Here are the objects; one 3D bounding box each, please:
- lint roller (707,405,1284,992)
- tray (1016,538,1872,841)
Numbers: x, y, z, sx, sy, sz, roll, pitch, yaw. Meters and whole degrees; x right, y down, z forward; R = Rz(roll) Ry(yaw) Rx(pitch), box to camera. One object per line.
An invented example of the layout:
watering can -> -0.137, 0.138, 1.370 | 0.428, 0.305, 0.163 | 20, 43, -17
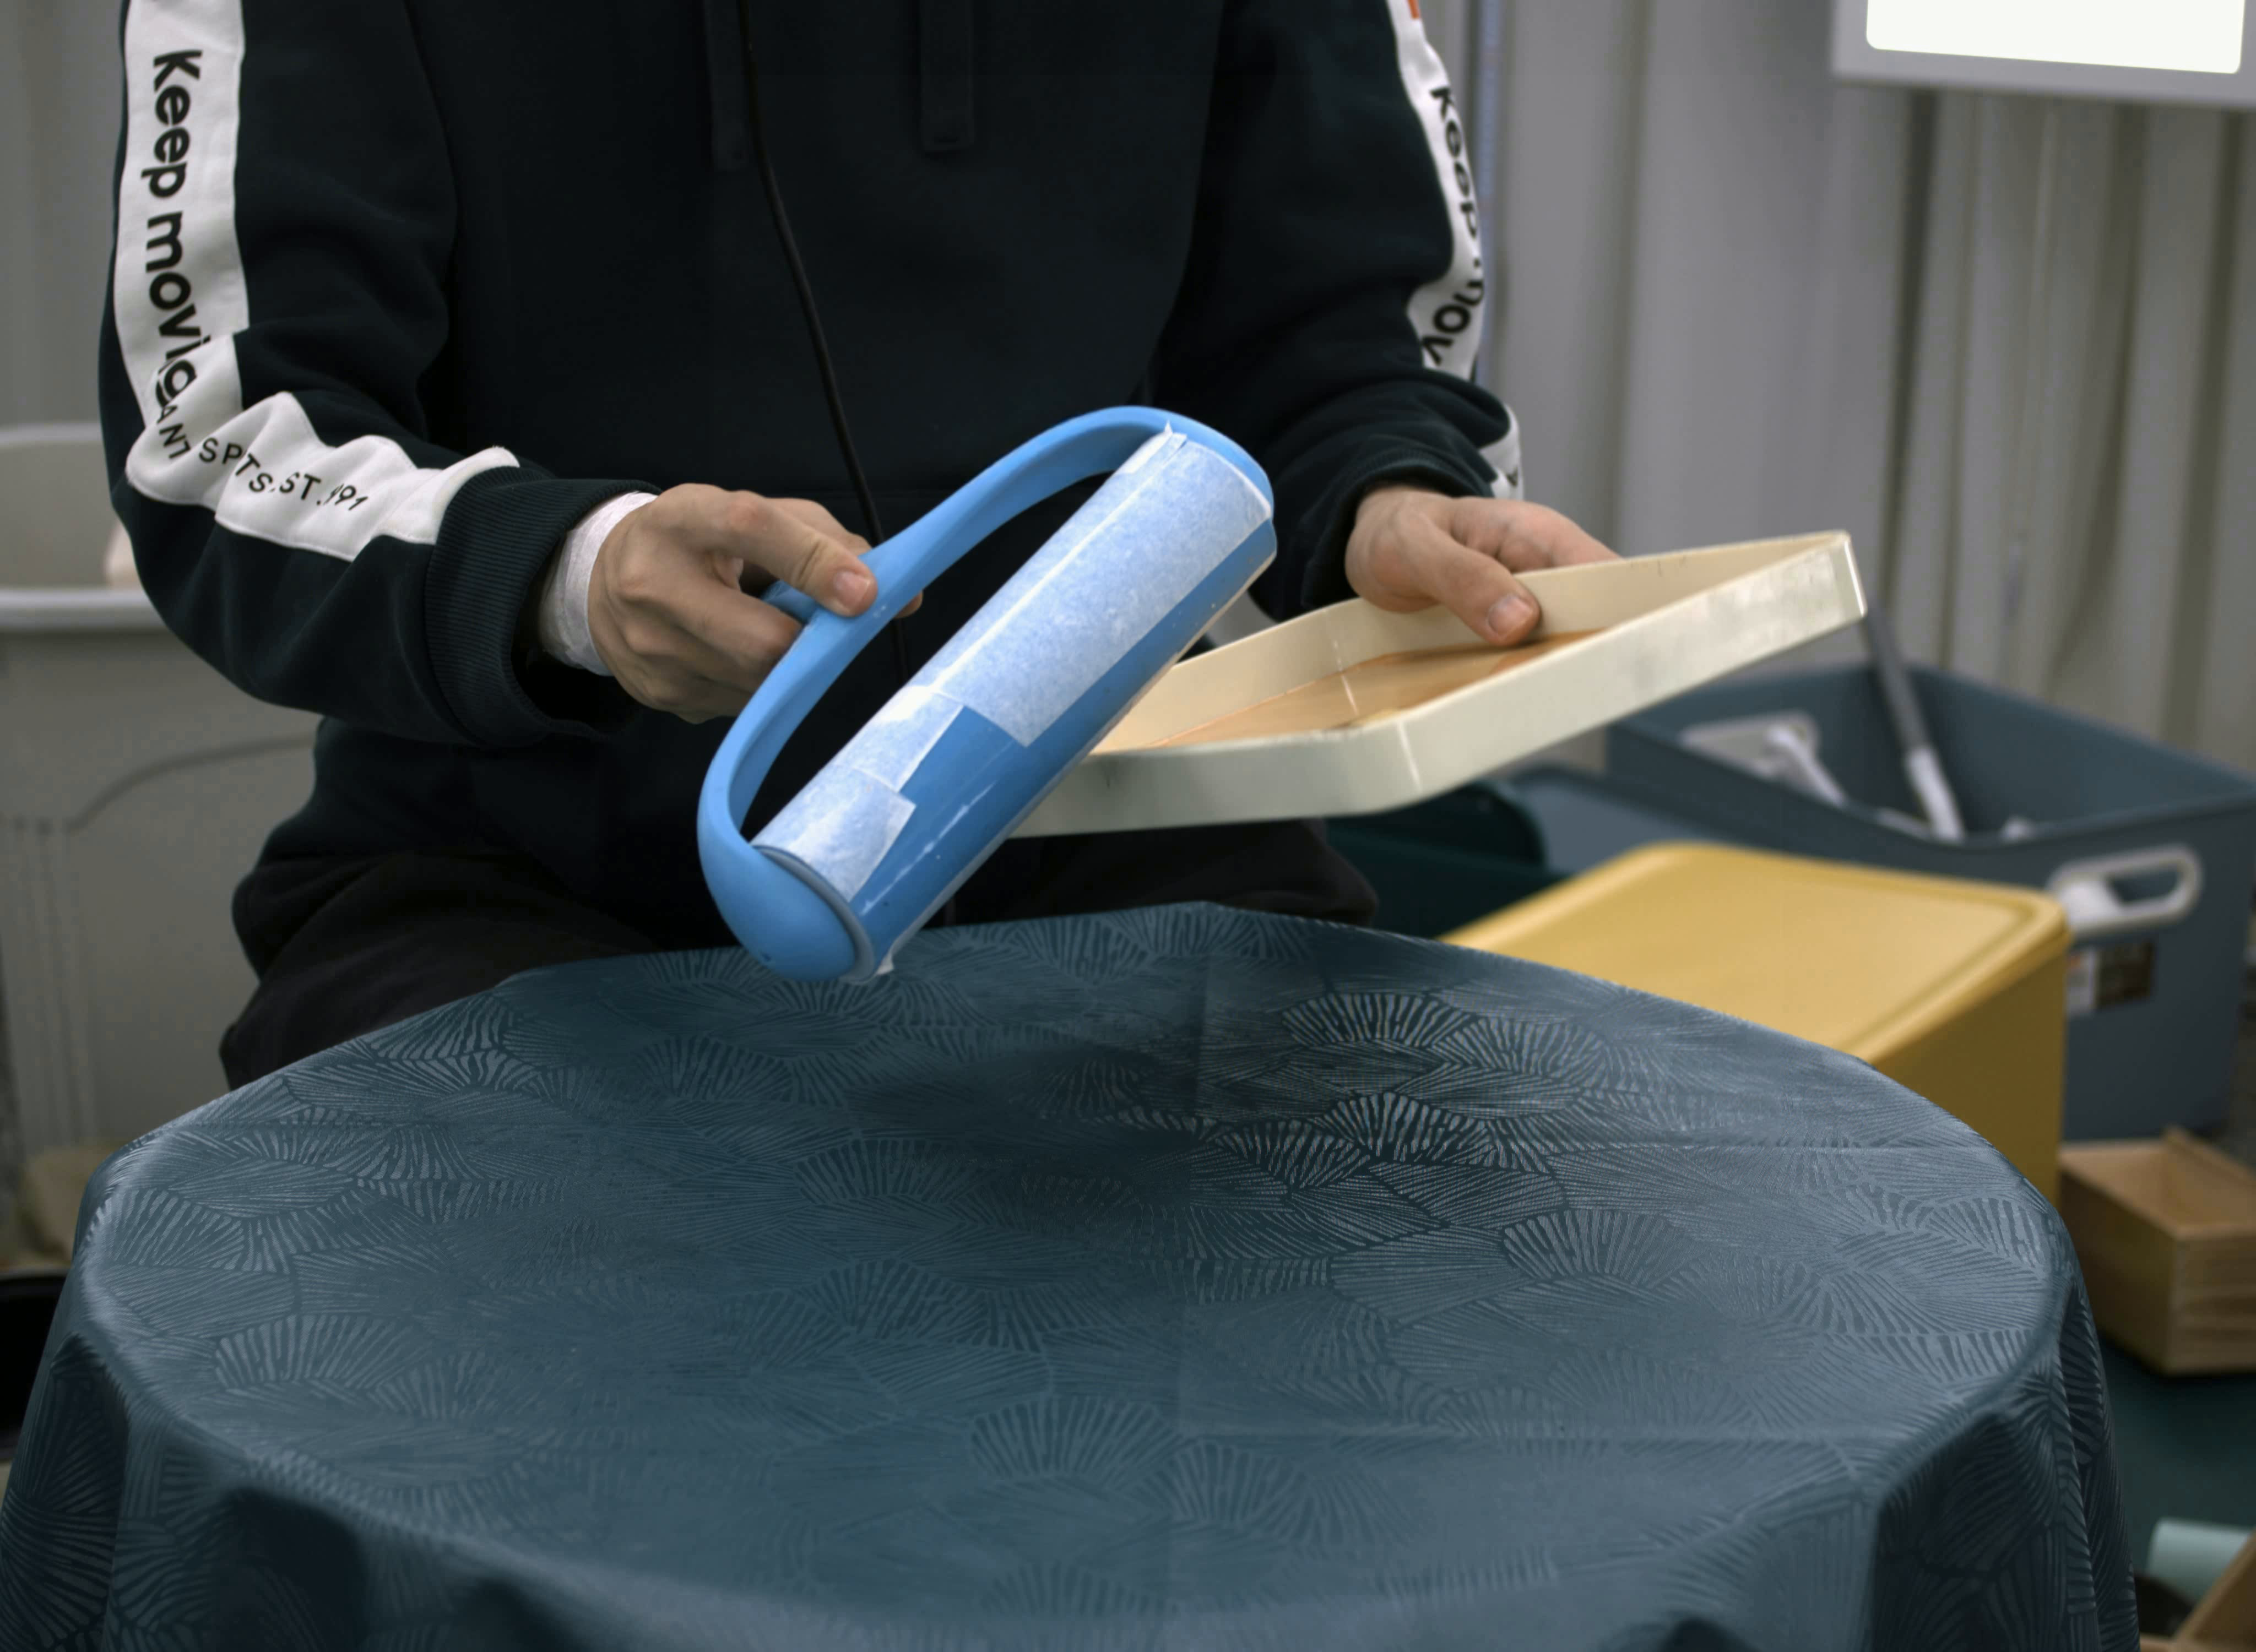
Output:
lint roller -> -0.075, -0.046, 1.596 | 0.178, 0.069, 0.228 | 12, 52, 40
tray -> 0.075, -0.039, 1.641 | 0.192, 0.027, 0.297 | -21, 8, -28
